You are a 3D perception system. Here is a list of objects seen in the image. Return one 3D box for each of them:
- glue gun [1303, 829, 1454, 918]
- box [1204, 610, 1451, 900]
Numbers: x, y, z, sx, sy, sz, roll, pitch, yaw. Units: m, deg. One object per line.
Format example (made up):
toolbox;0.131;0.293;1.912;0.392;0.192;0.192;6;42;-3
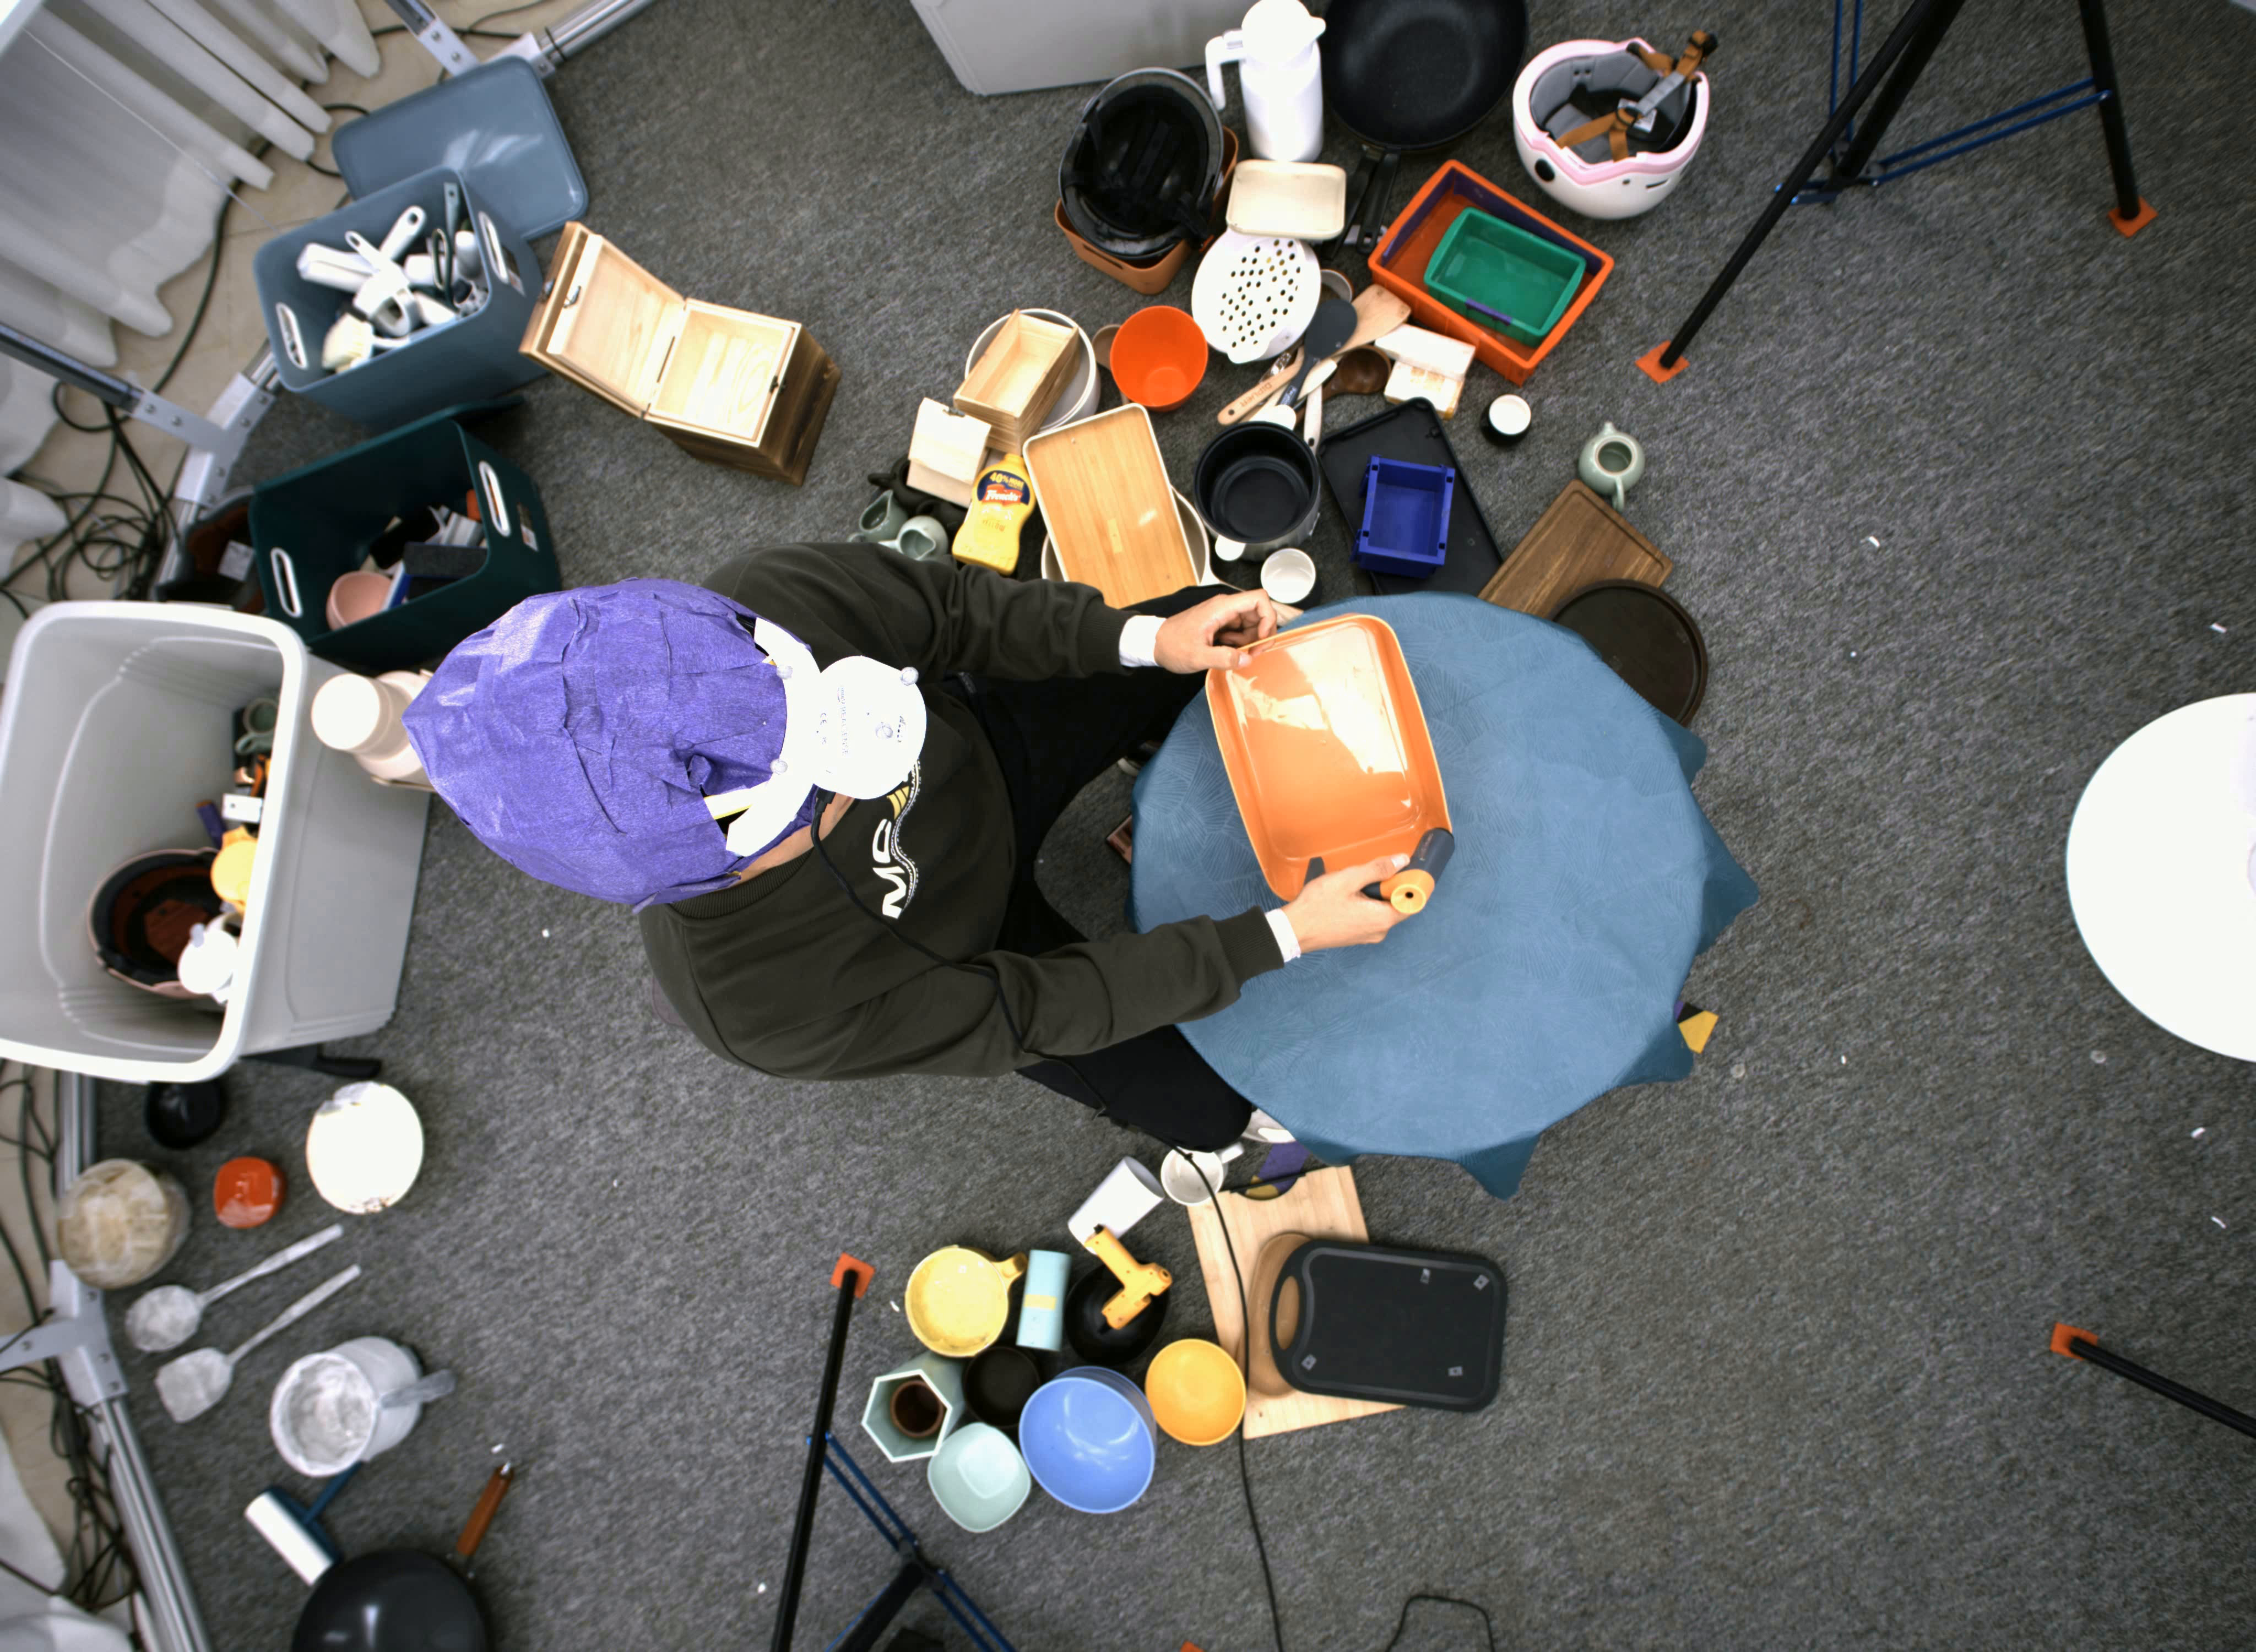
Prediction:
glue gun;0.245;0.044;1.337;0.141;0.115;0.041;-13;112;20
box;0.199;-0.078;1.391;0.201;0.101;0.276;-16;107;11
